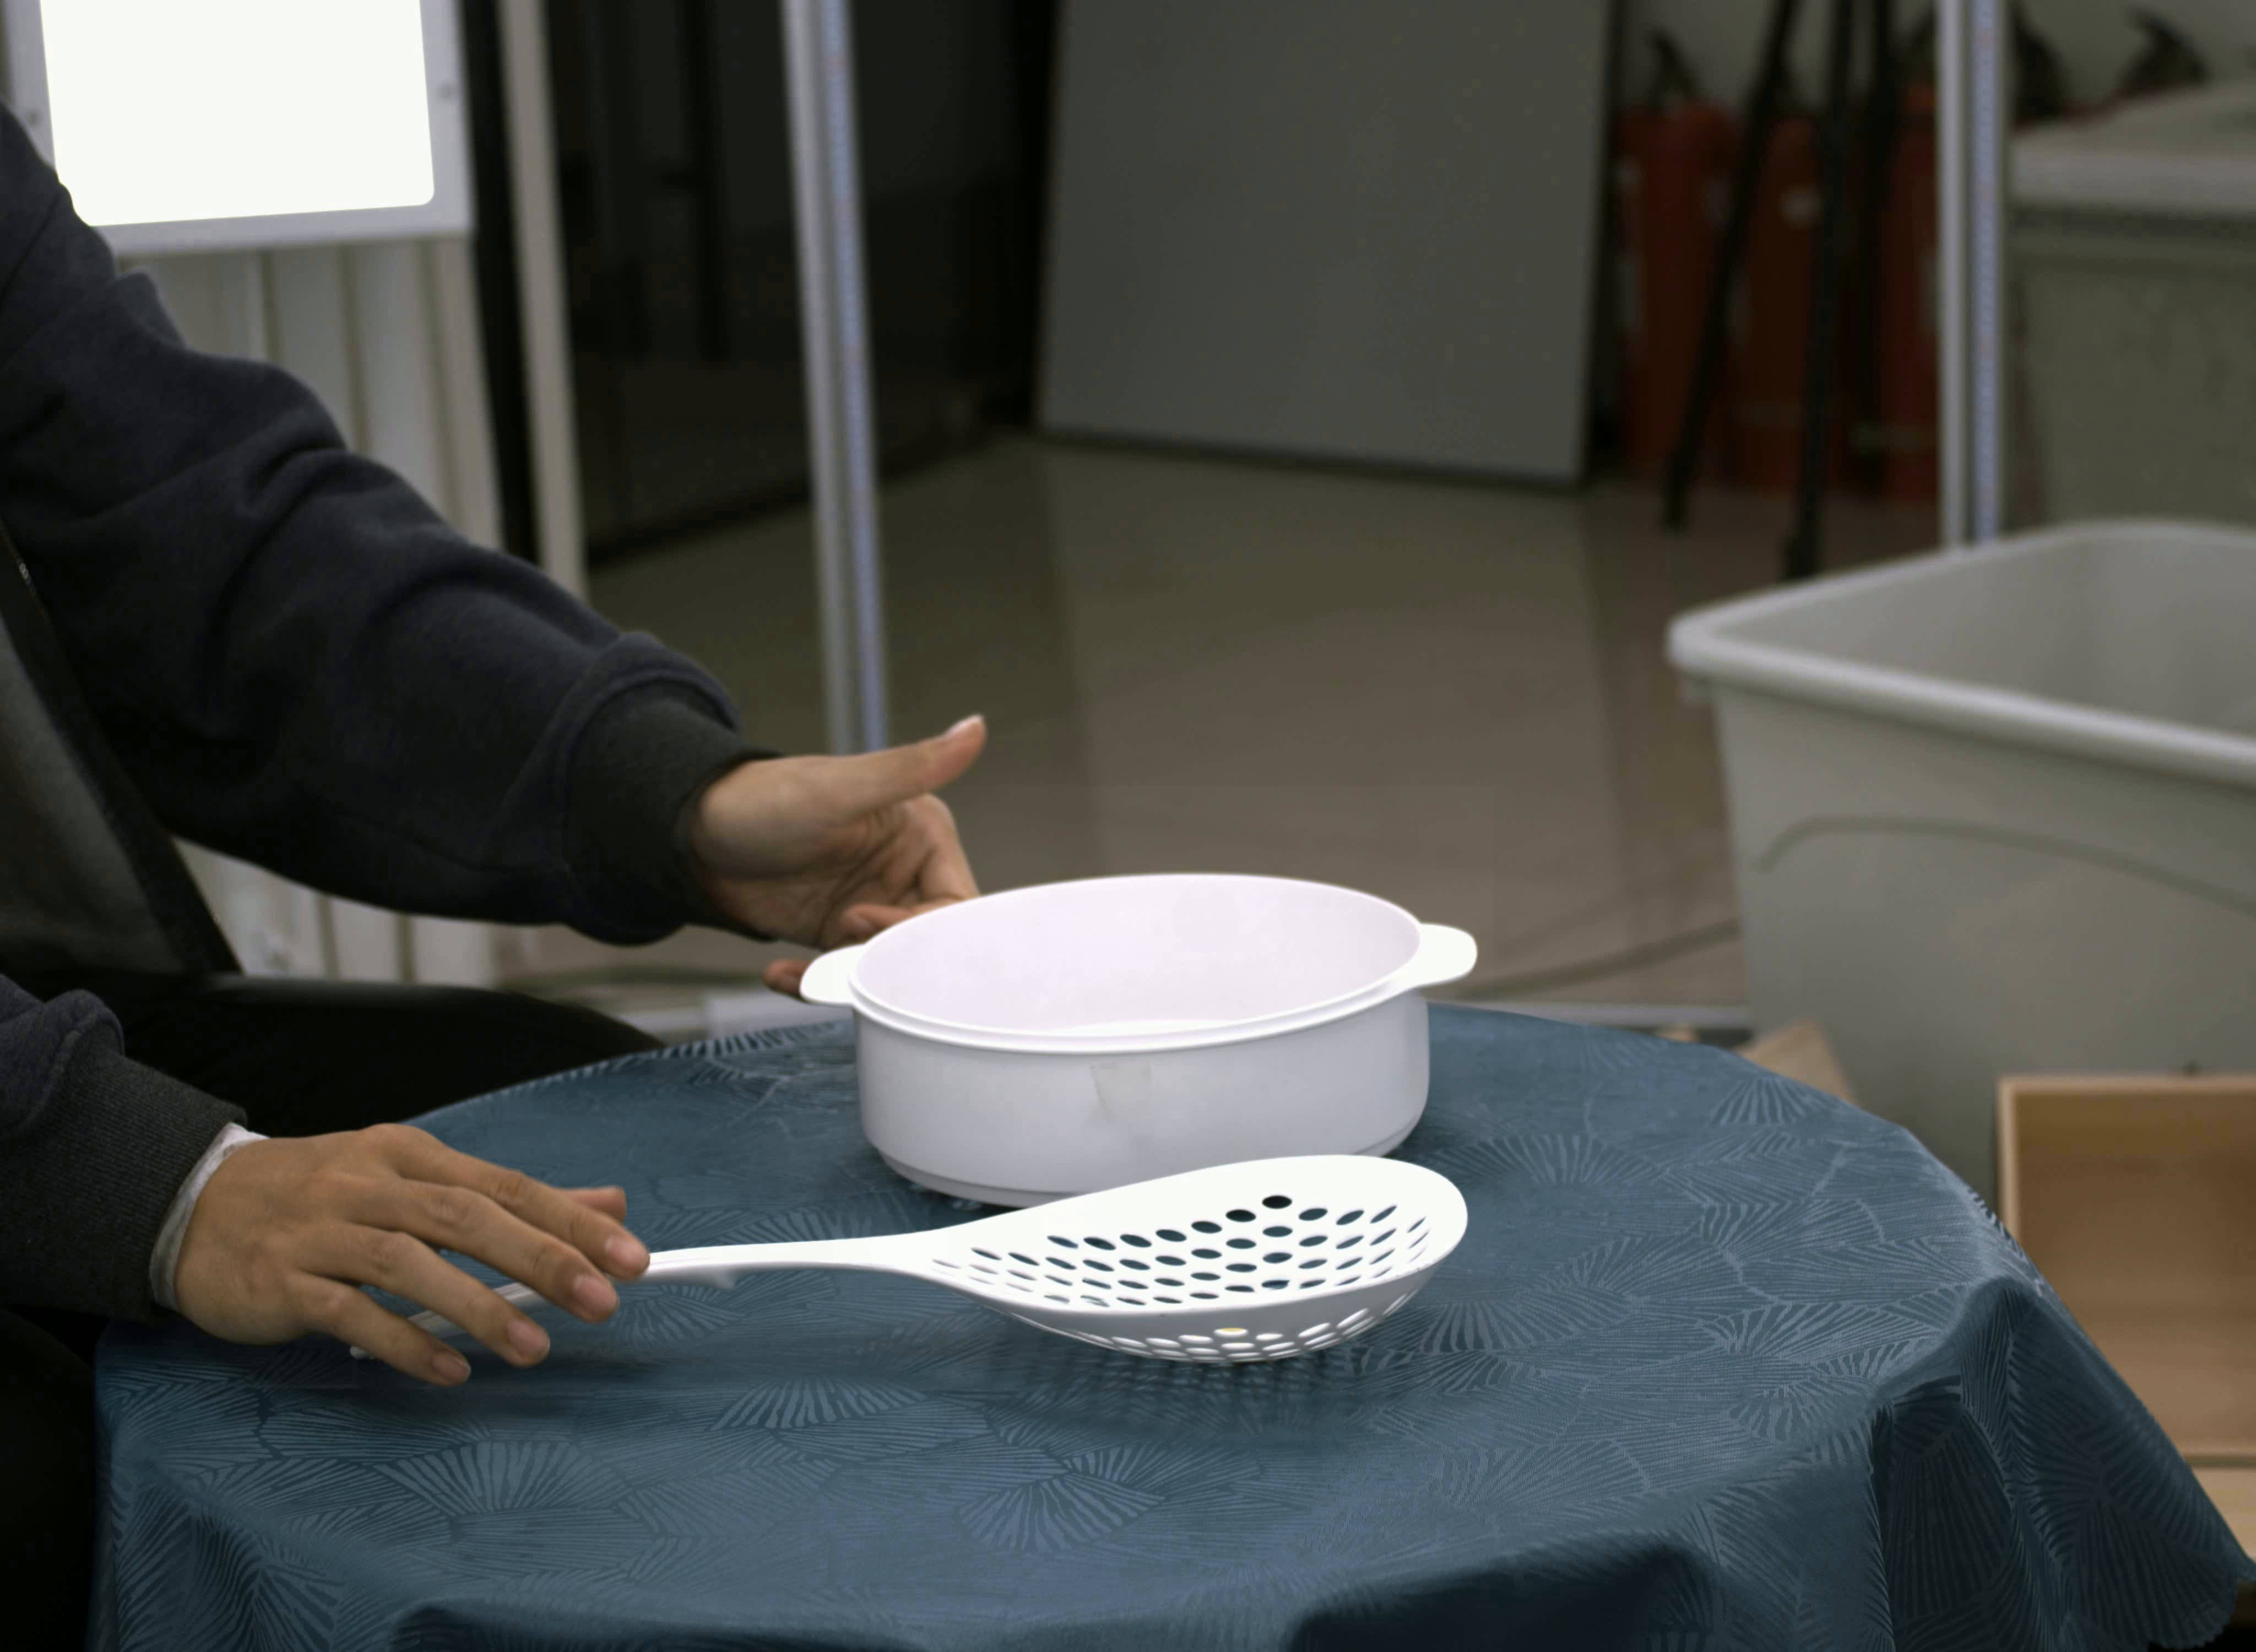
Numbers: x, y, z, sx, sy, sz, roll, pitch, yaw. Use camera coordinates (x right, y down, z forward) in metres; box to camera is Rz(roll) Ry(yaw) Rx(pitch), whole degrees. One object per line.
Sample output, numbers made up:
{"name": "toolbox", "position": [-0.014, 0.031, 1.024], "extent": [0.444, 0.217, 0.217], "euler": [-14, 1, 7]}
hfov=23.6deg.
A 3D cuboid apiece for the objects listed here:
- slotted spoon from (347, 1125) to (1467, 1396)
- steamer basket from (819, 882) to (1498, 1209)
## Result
{"name": "slotted spoon", "position": [-0.068, 0.140, 1.627], "extent": [0.345, 0.051, 0.136], "euler": [-2, 17, 9]}
{"name": "steamer basket", "position": [0.011, 0.074, 1.814], "extent": [0.228, 0.070, 0.201], "euler": [0, 13, 6]}
